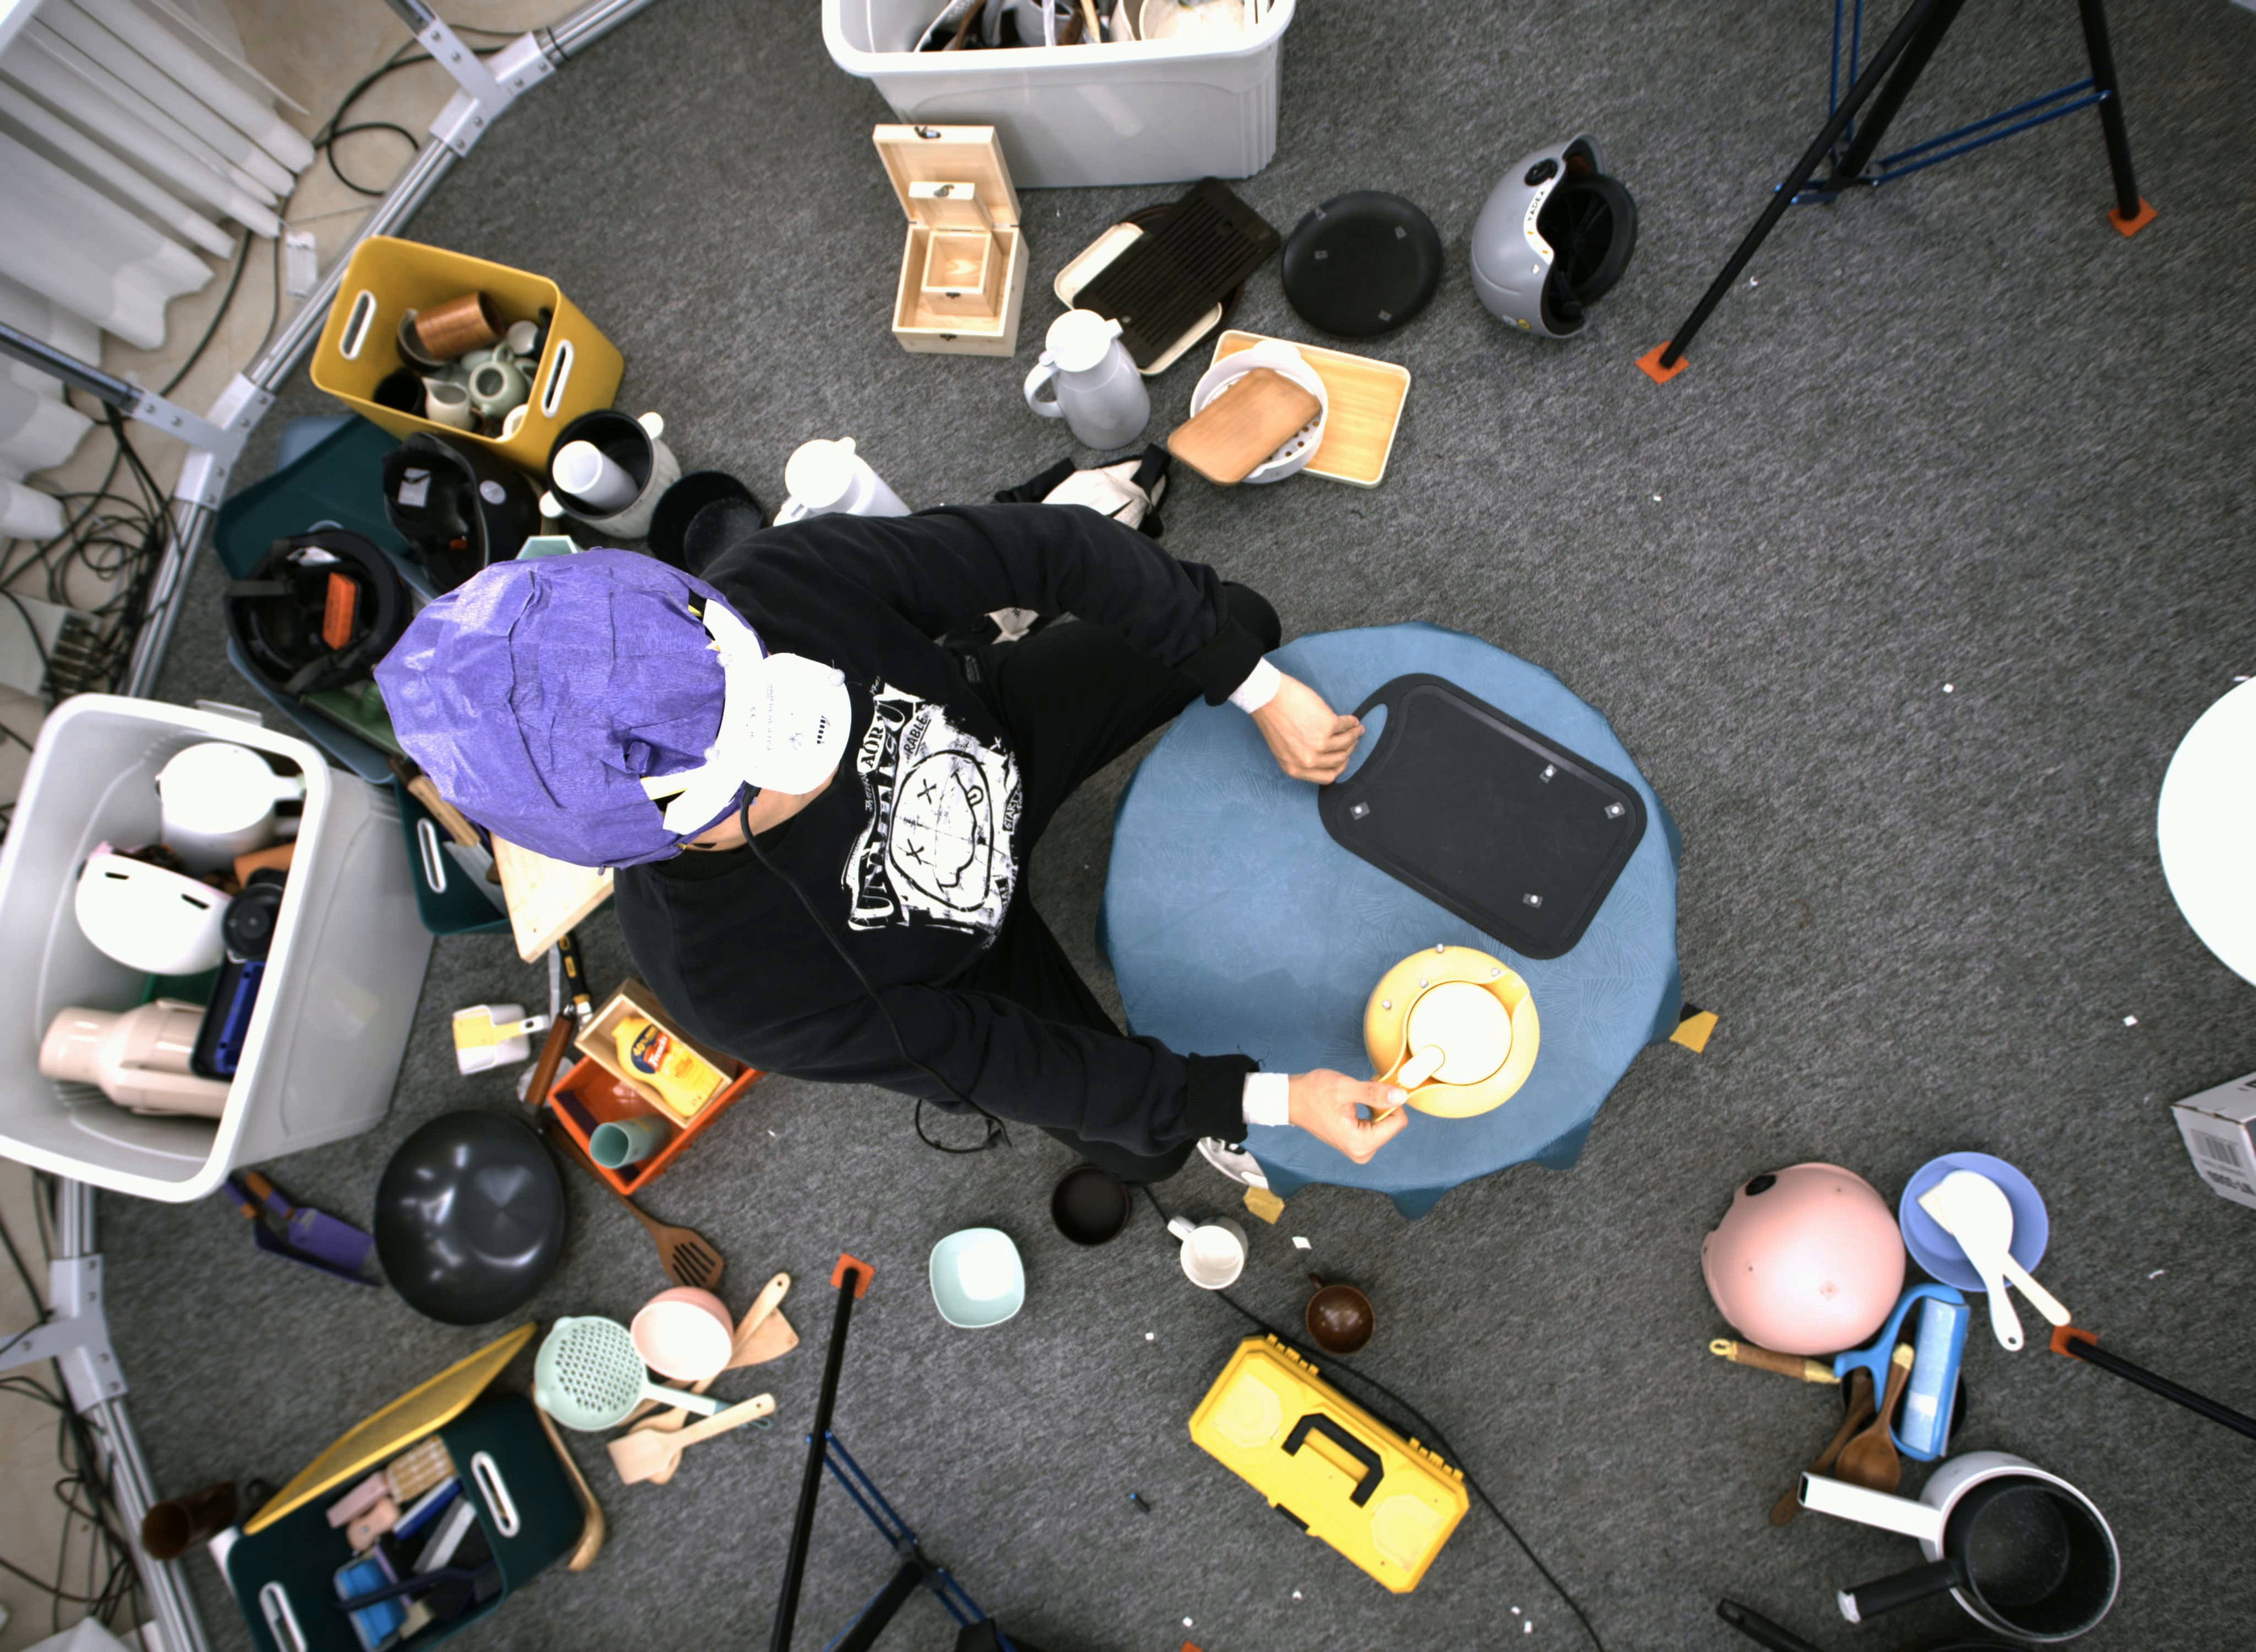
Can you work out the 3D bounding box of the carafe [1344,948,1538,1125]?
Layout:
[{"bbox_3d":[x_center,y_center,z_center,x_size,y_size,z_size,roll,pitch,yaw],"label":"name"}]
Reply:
[{"bbox_3d":[0.290,0.207,1.316,0.203,0.261,0.162,-38,76,2],"label":"carafe"}]

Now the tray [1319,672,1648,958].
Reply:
[{"bbox_3d":[0.363,-0.020,1.444,0.324,0.010,0.211,32,93,11],"label":"tray"}]
